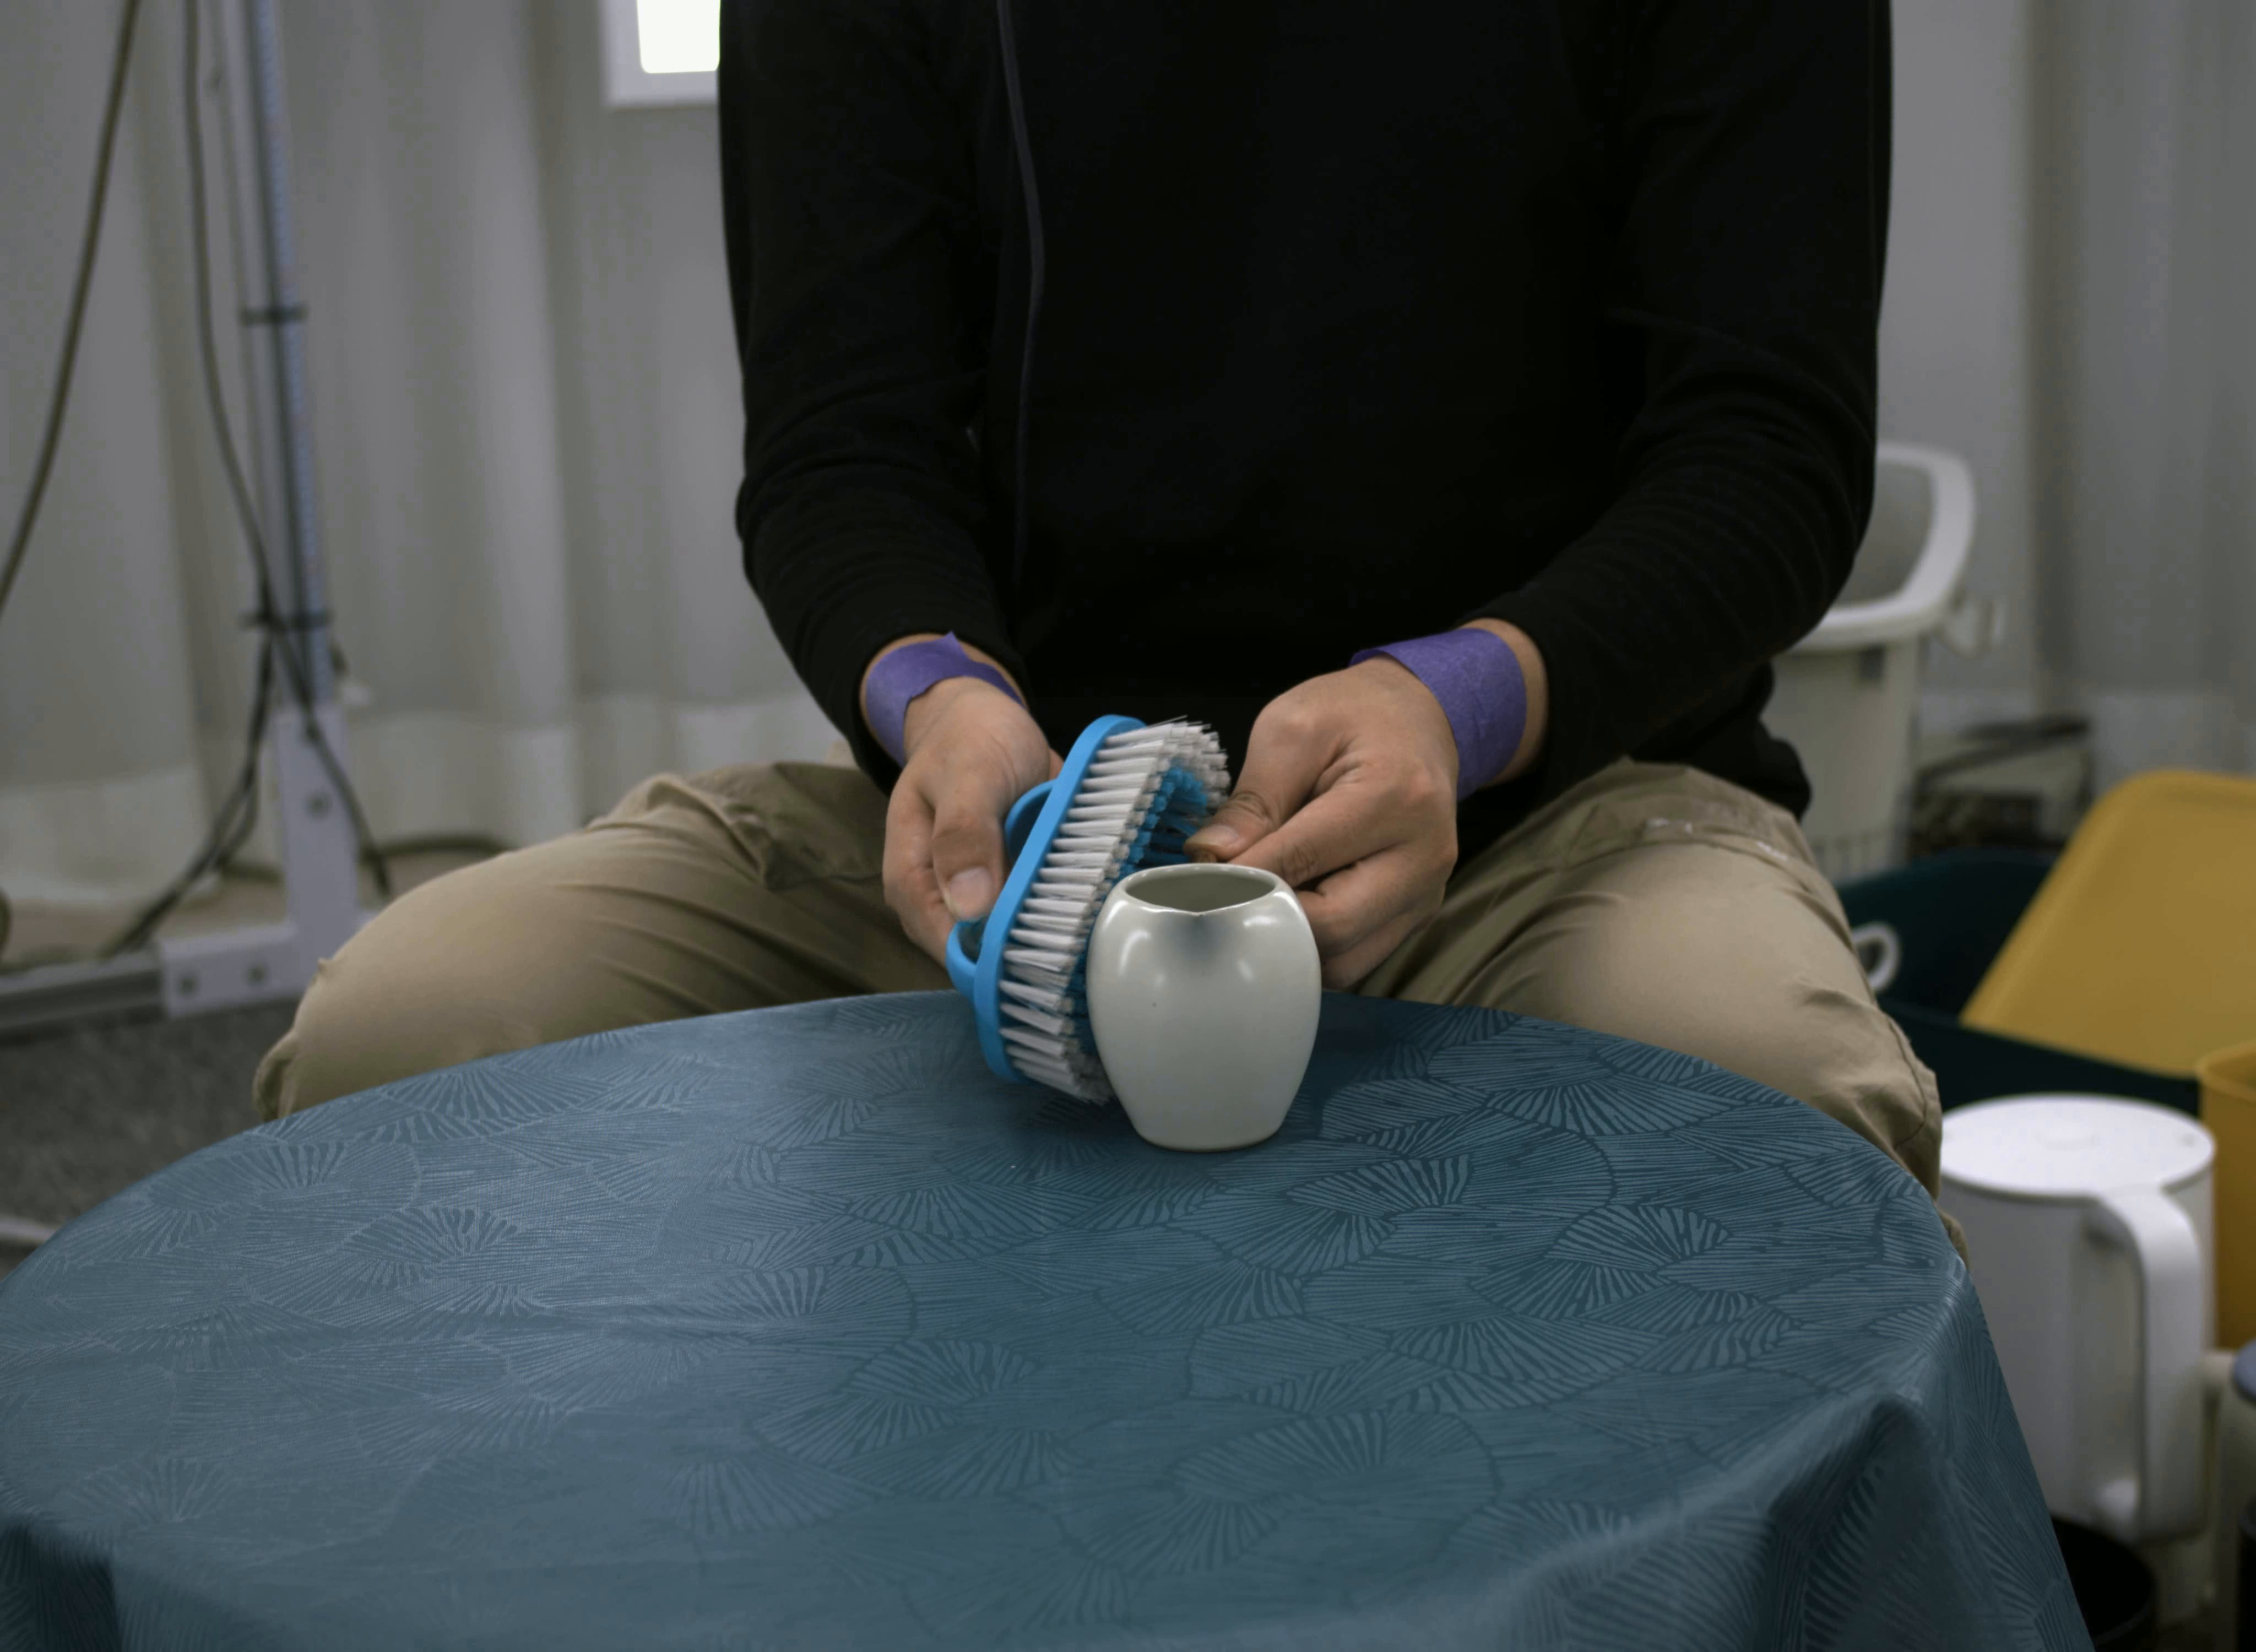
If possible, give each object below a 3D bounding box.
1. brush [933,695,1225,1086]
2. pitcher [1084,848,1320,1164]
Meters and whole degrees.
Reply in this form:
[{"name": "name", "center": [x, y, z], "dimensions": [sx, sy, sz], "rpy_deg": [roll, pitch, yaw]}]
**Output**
[{"name": "brush", "center": [-0.023, 0.021, 1.807], "dimensions": [0.064, 0.083, 0.143], "rpy_deg": [6, 54, 31]}, {"name": "pitcher", "center": [0.024, 0.057, 1.758], "dimensions": [0.075, 0.087, 0.120], "rpy_deg": [5, 19, 5]}]
